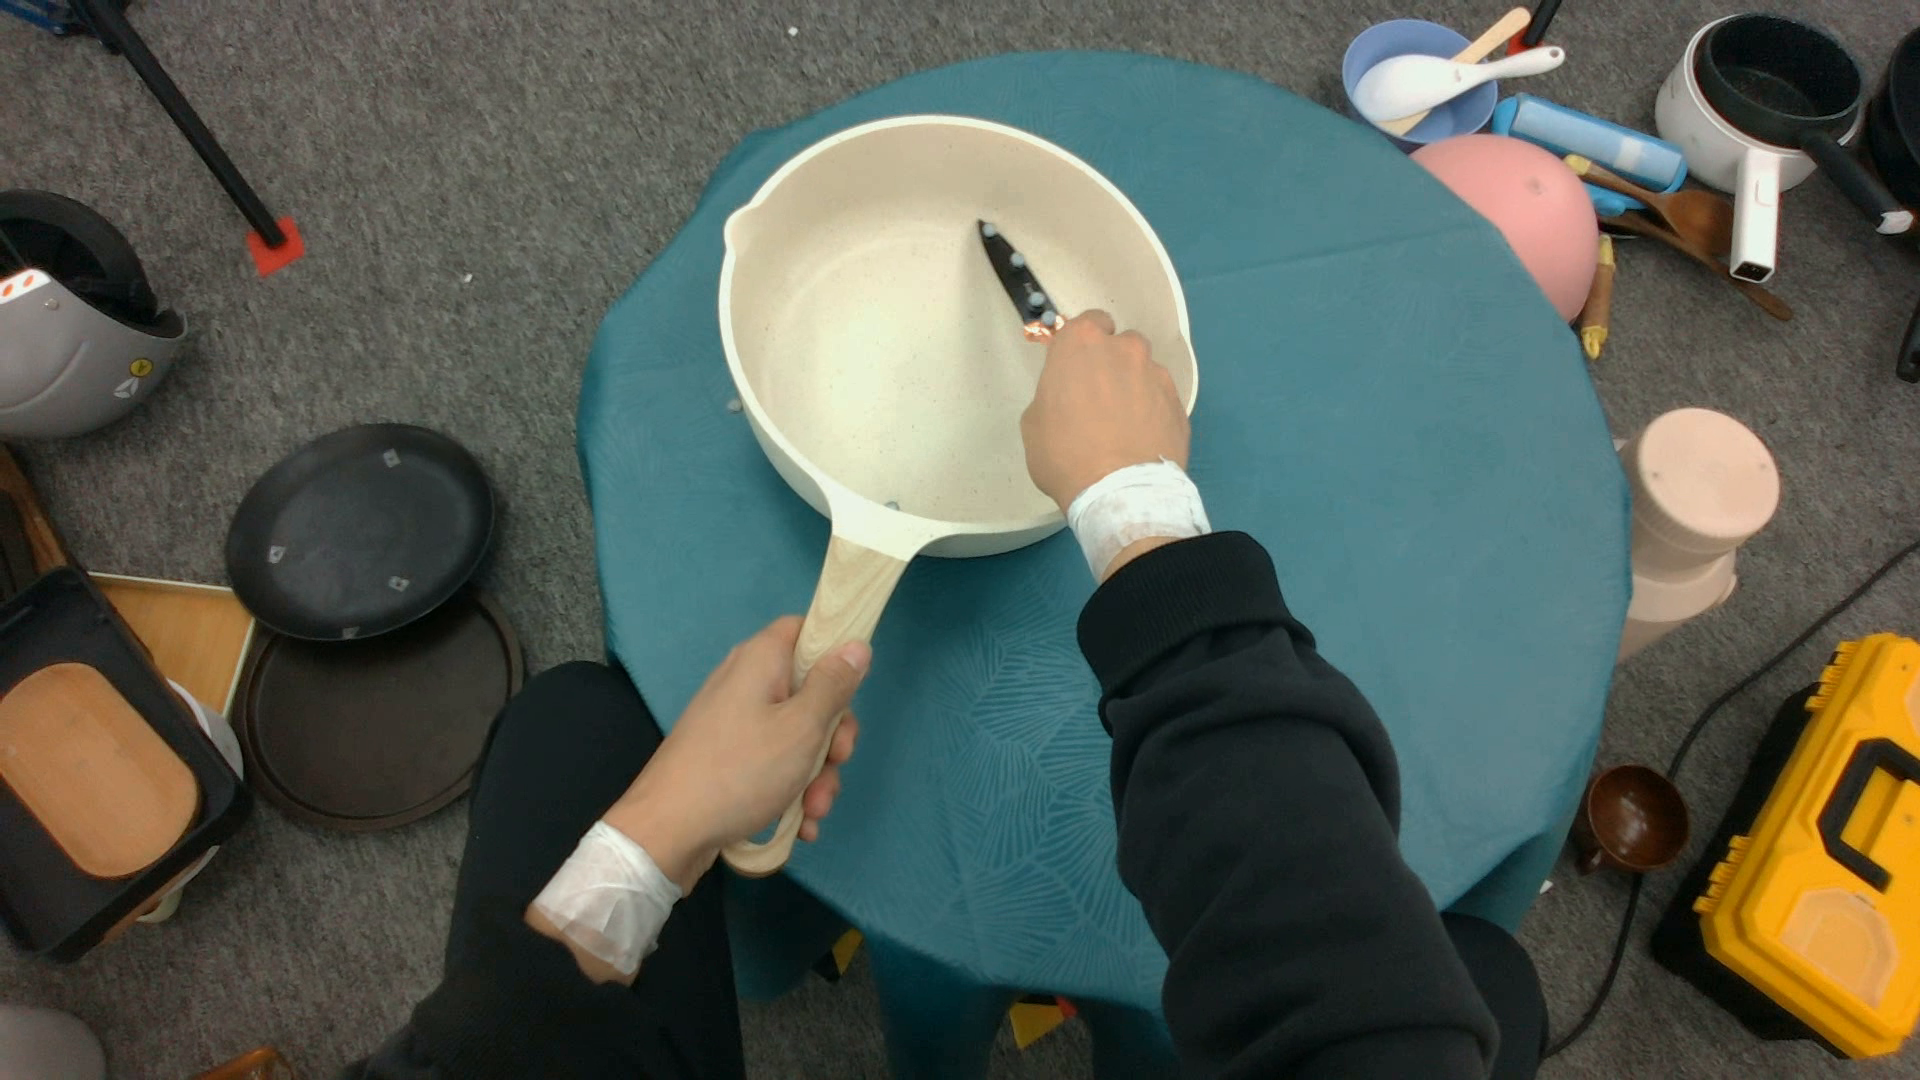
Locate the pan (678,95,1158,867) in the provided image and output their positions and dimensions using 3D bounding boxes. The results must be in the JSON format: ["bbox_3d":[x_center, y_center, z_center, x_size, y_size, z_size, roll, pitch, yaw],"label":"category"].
[{"bbox_3d":[-0.051,-0.038,0.714,0.263,0.101,0.436,20,66,-5],"label":"pan"}]

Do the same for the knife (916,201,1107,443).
[{"bbox_3d":[0.024,-0.128,0.753,0.026,0.017,0.226,-21,50,-10],"label":"knife"}]
